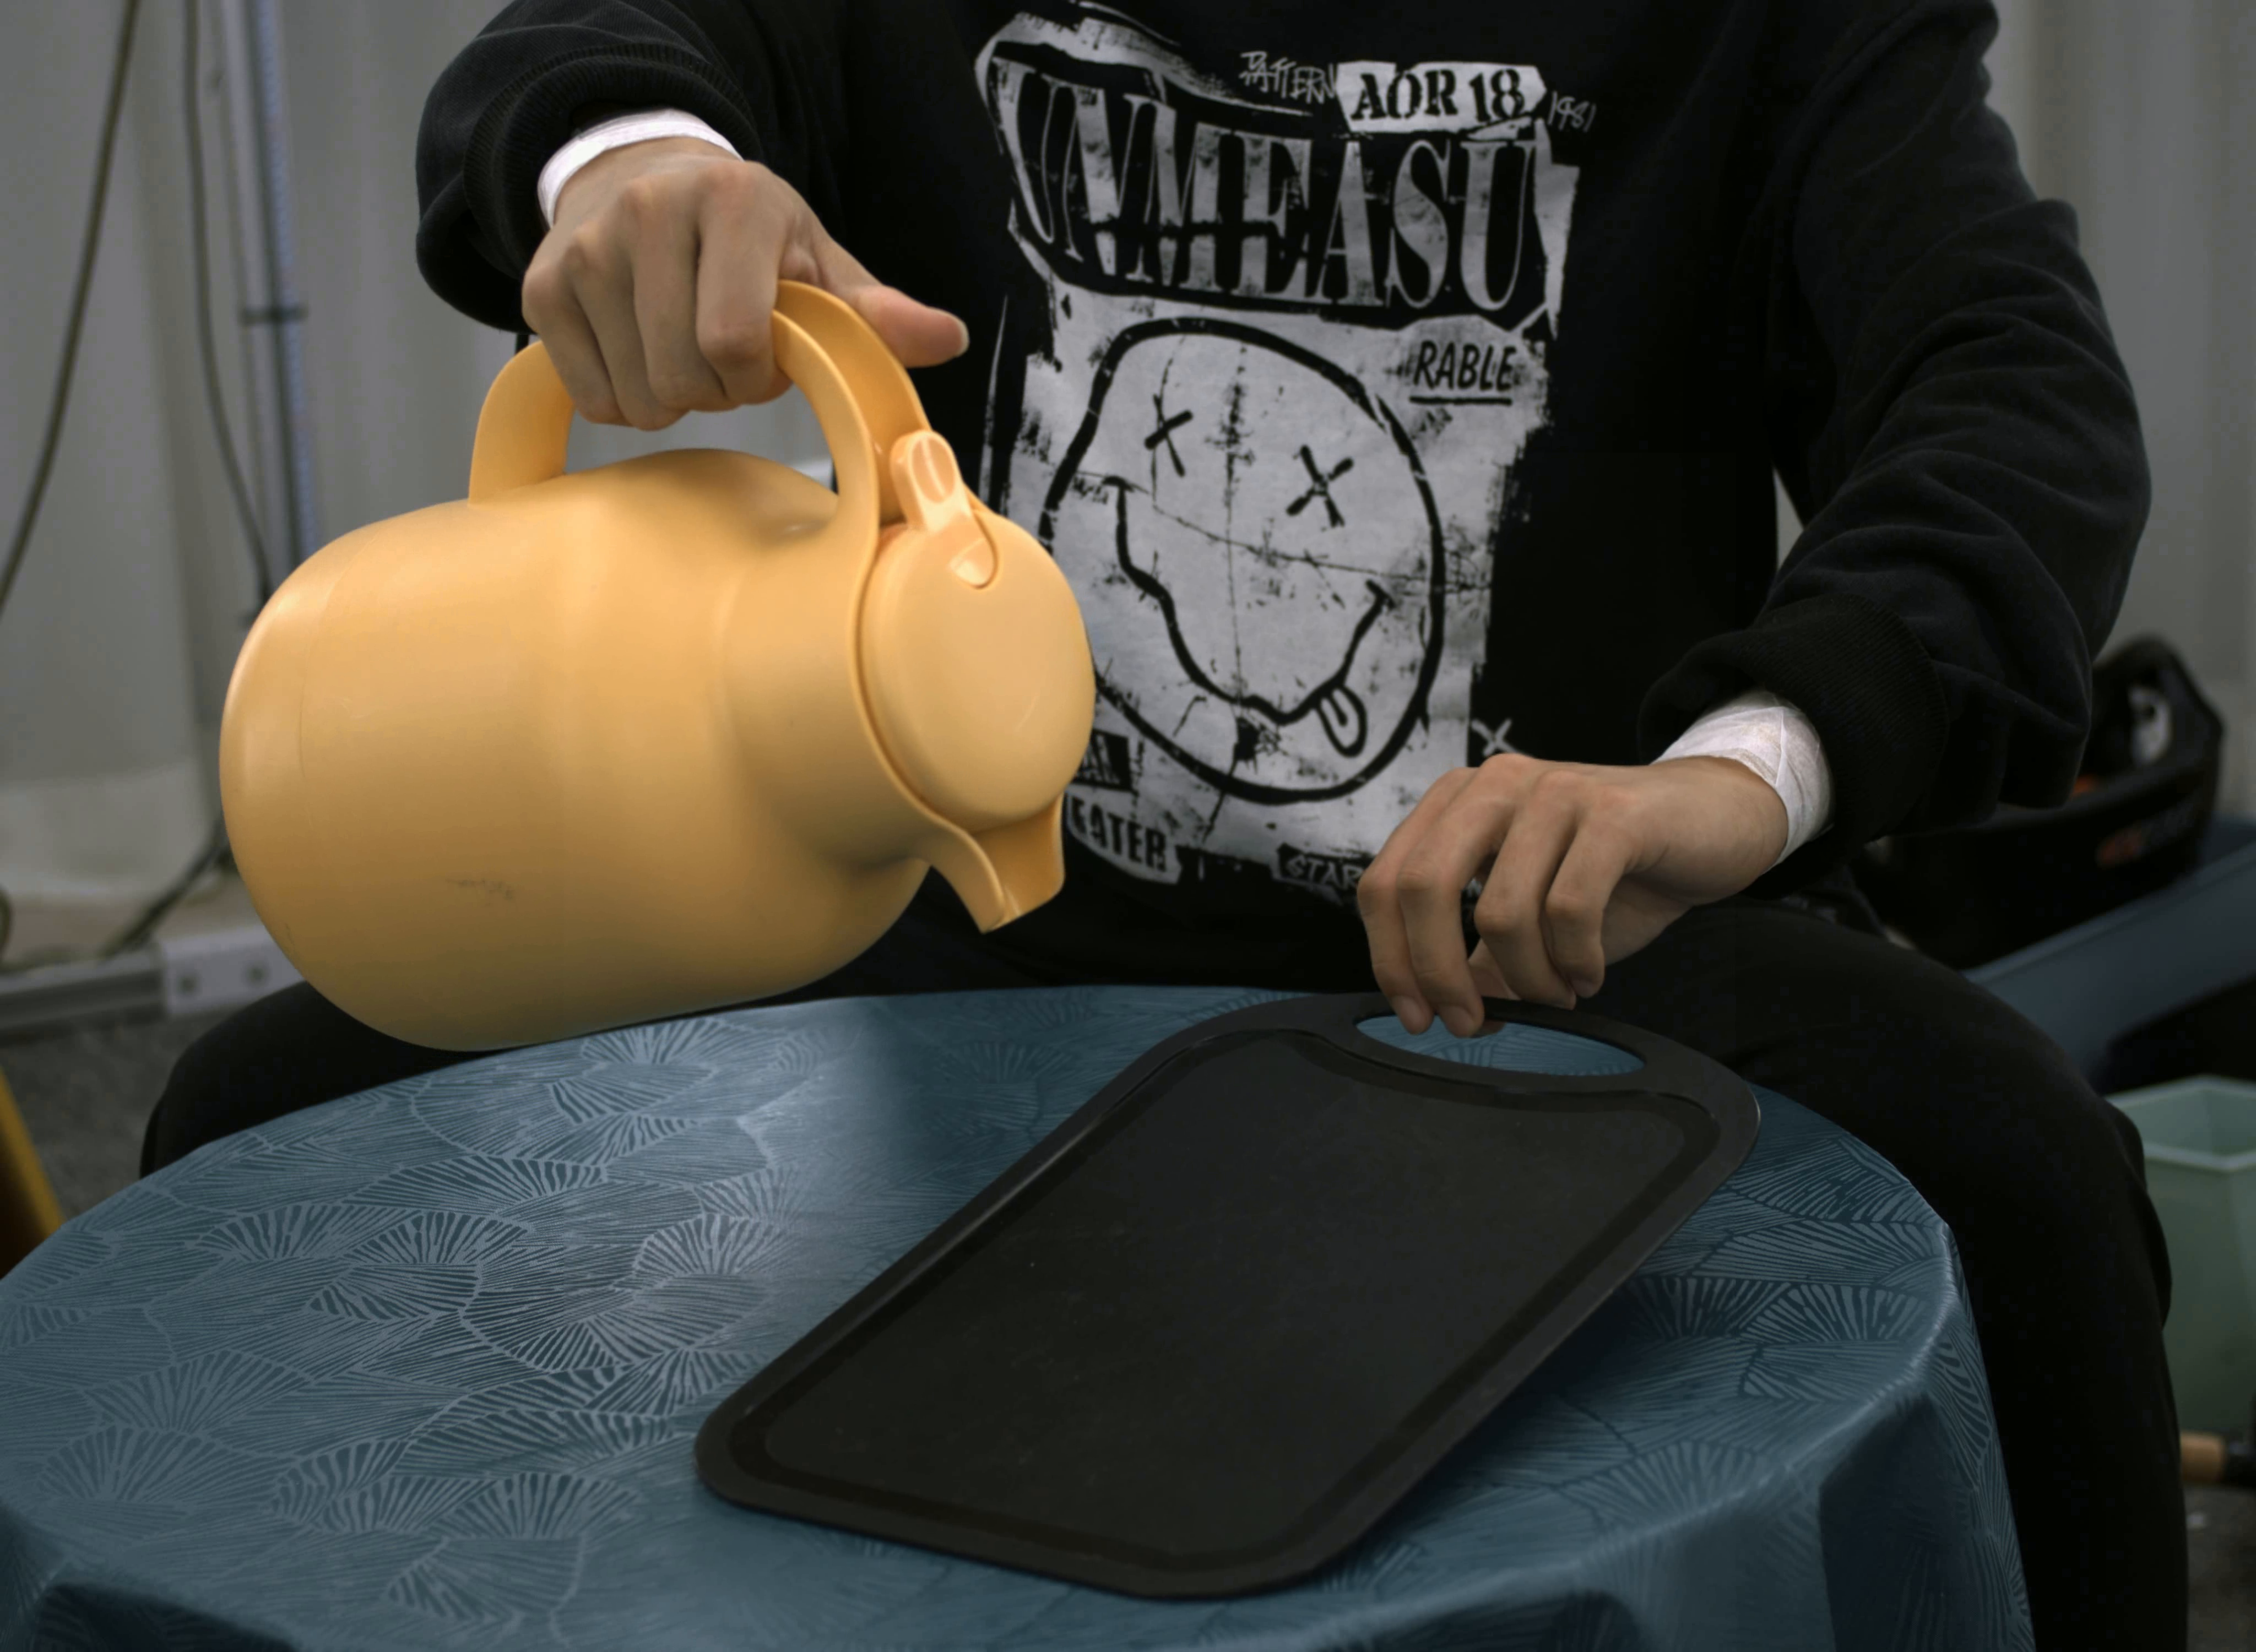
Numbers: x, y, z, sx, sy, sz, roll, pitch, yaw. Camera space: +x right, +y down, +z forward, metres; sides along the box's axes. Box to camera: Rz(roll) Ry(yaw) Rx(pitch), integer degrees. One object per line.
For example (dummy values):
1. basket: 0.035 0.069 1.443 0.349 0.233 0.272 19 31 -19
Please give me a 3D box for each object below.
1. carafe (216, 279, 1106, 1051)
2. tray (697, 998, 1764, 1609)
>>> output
1. carafe: -0.133 -0.046 1.579 0.260 0.202 0.163 -11 4 36
2. tray: 0.037 0.123 1.552 0.212 0.010 0.327 8 29 34
